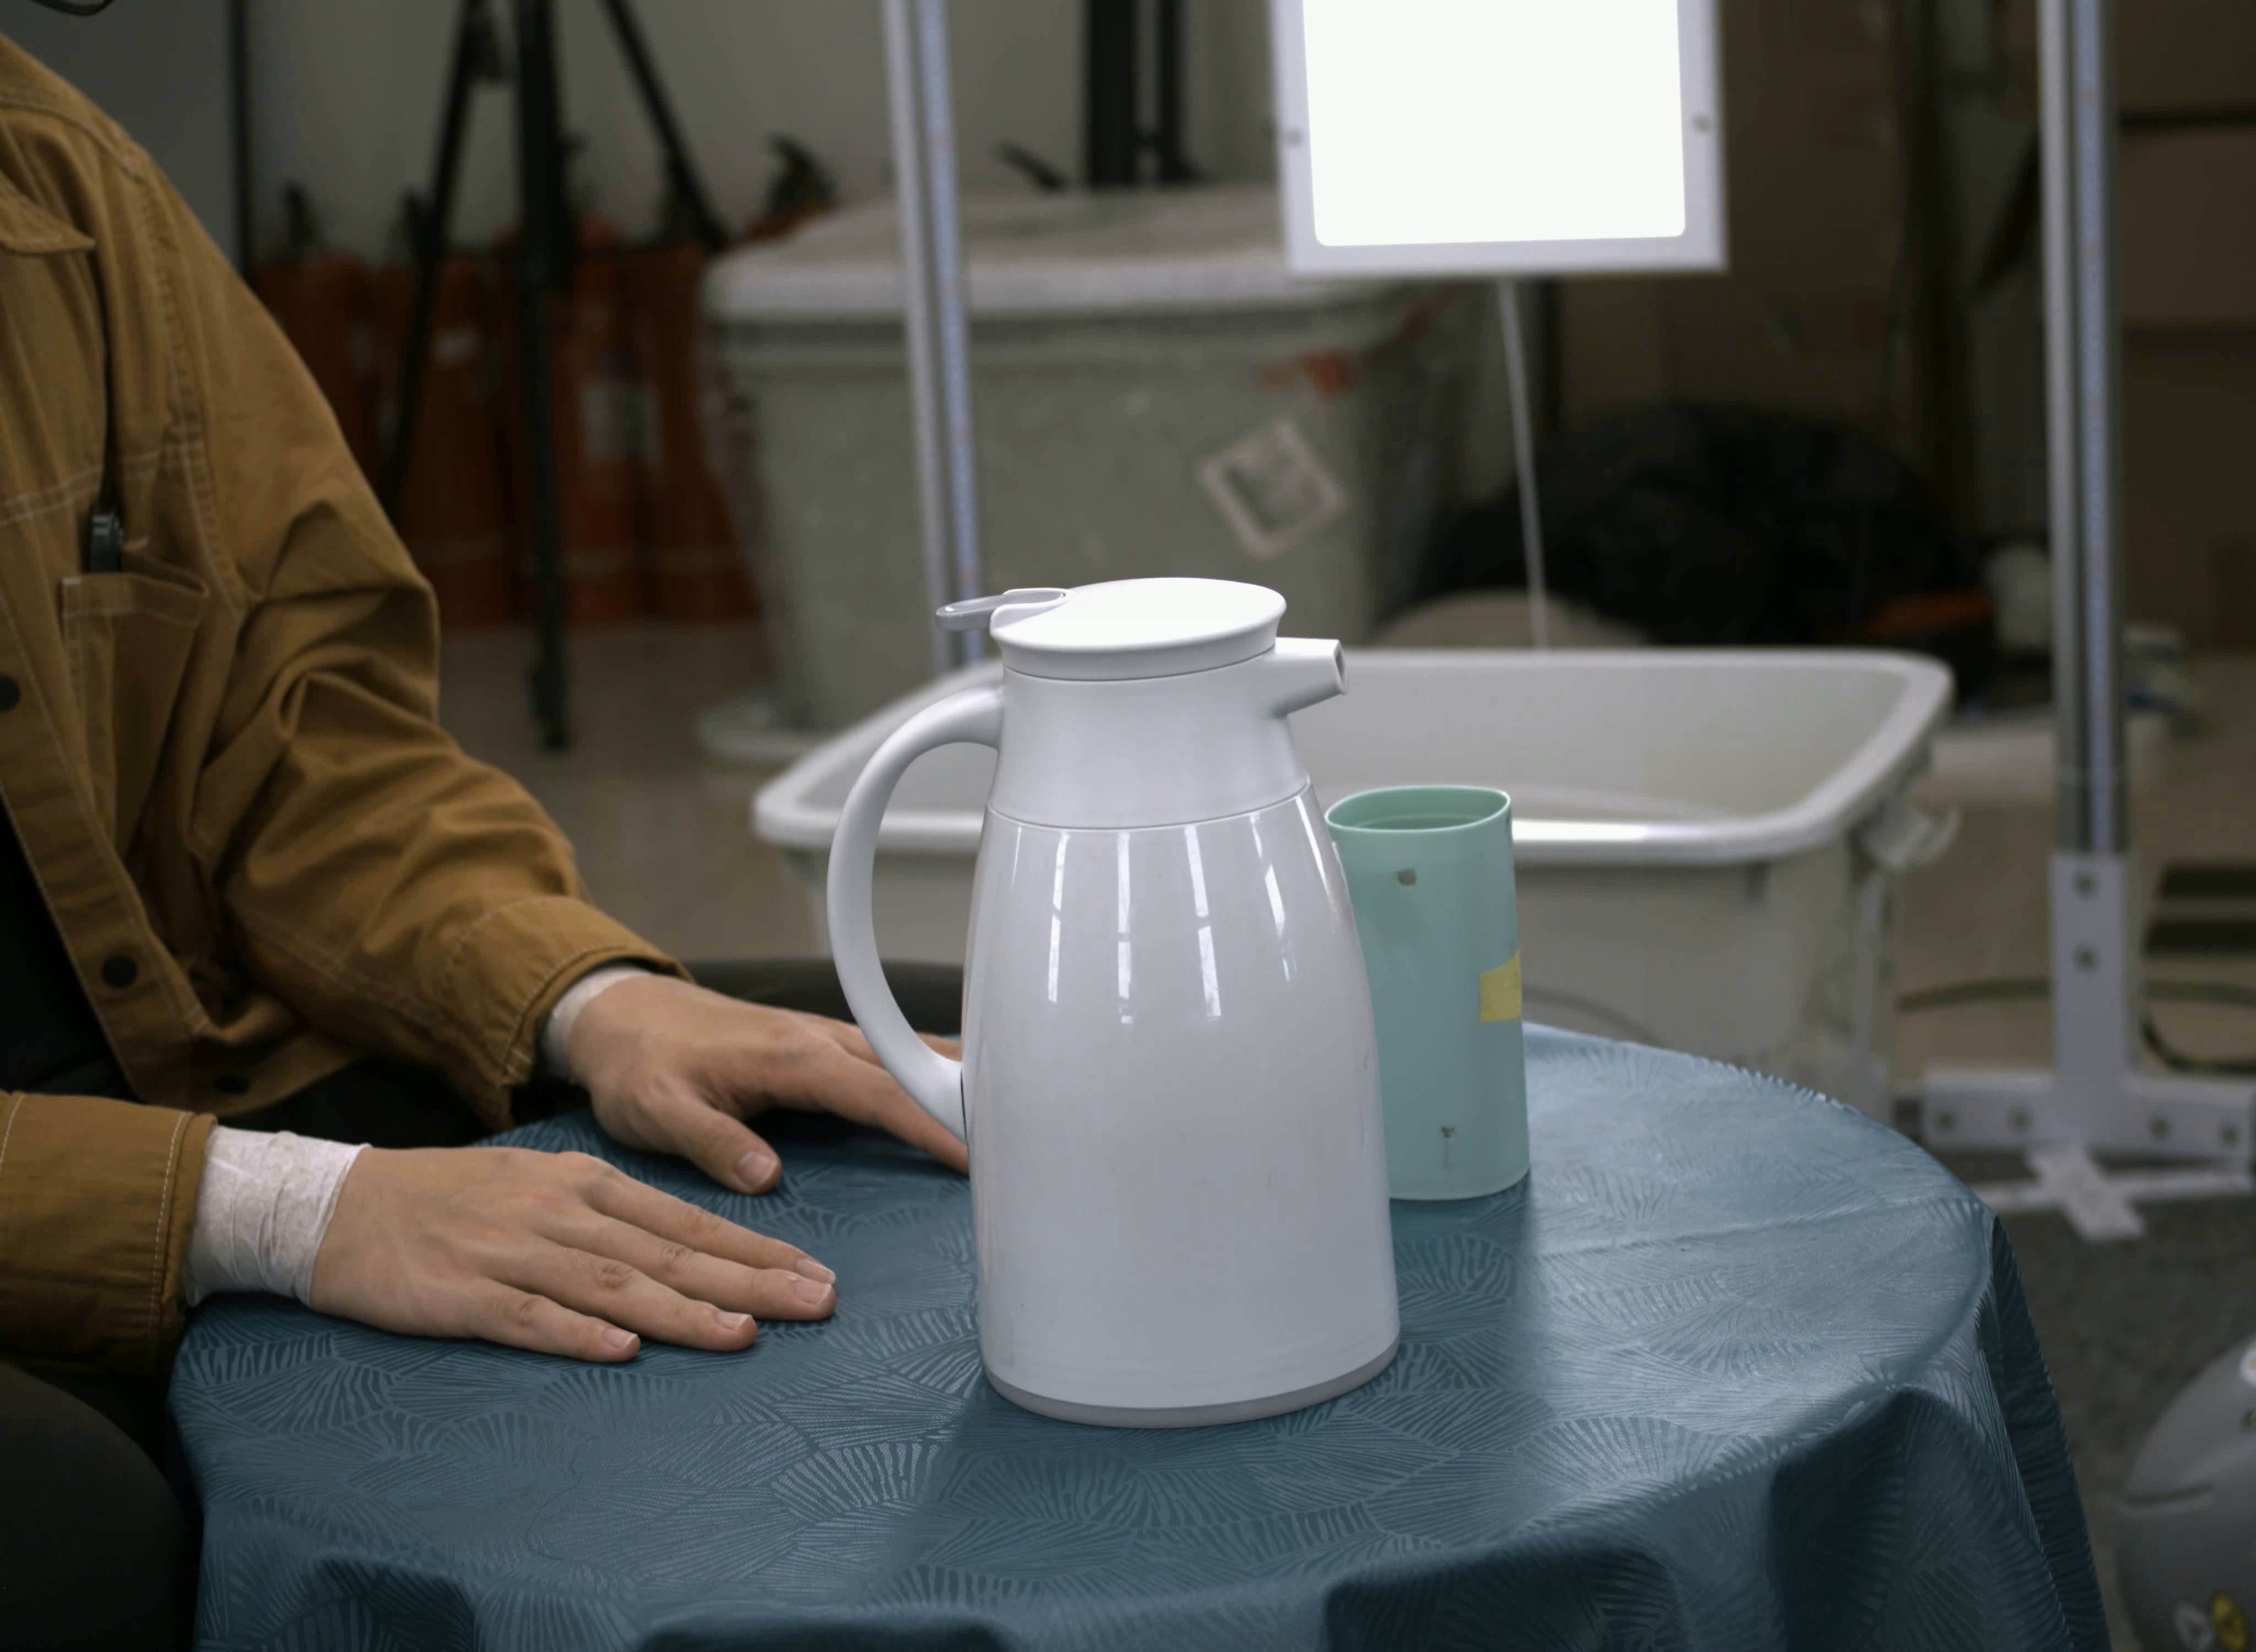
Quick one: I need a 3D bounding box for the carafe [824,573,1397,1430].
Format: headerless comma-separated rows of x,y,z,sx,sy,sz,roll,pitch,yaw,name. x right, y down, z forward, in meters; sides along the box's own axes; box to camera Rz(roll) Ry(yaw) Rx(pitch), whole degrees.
-0.008,0.048,1.700,0.168,0.249,0.131,-3,14,10,carafe

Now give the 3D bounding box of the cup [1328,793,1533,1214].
0.103,0.060,1.873,0.066,0.133,0.066,-4,14,0,cup
